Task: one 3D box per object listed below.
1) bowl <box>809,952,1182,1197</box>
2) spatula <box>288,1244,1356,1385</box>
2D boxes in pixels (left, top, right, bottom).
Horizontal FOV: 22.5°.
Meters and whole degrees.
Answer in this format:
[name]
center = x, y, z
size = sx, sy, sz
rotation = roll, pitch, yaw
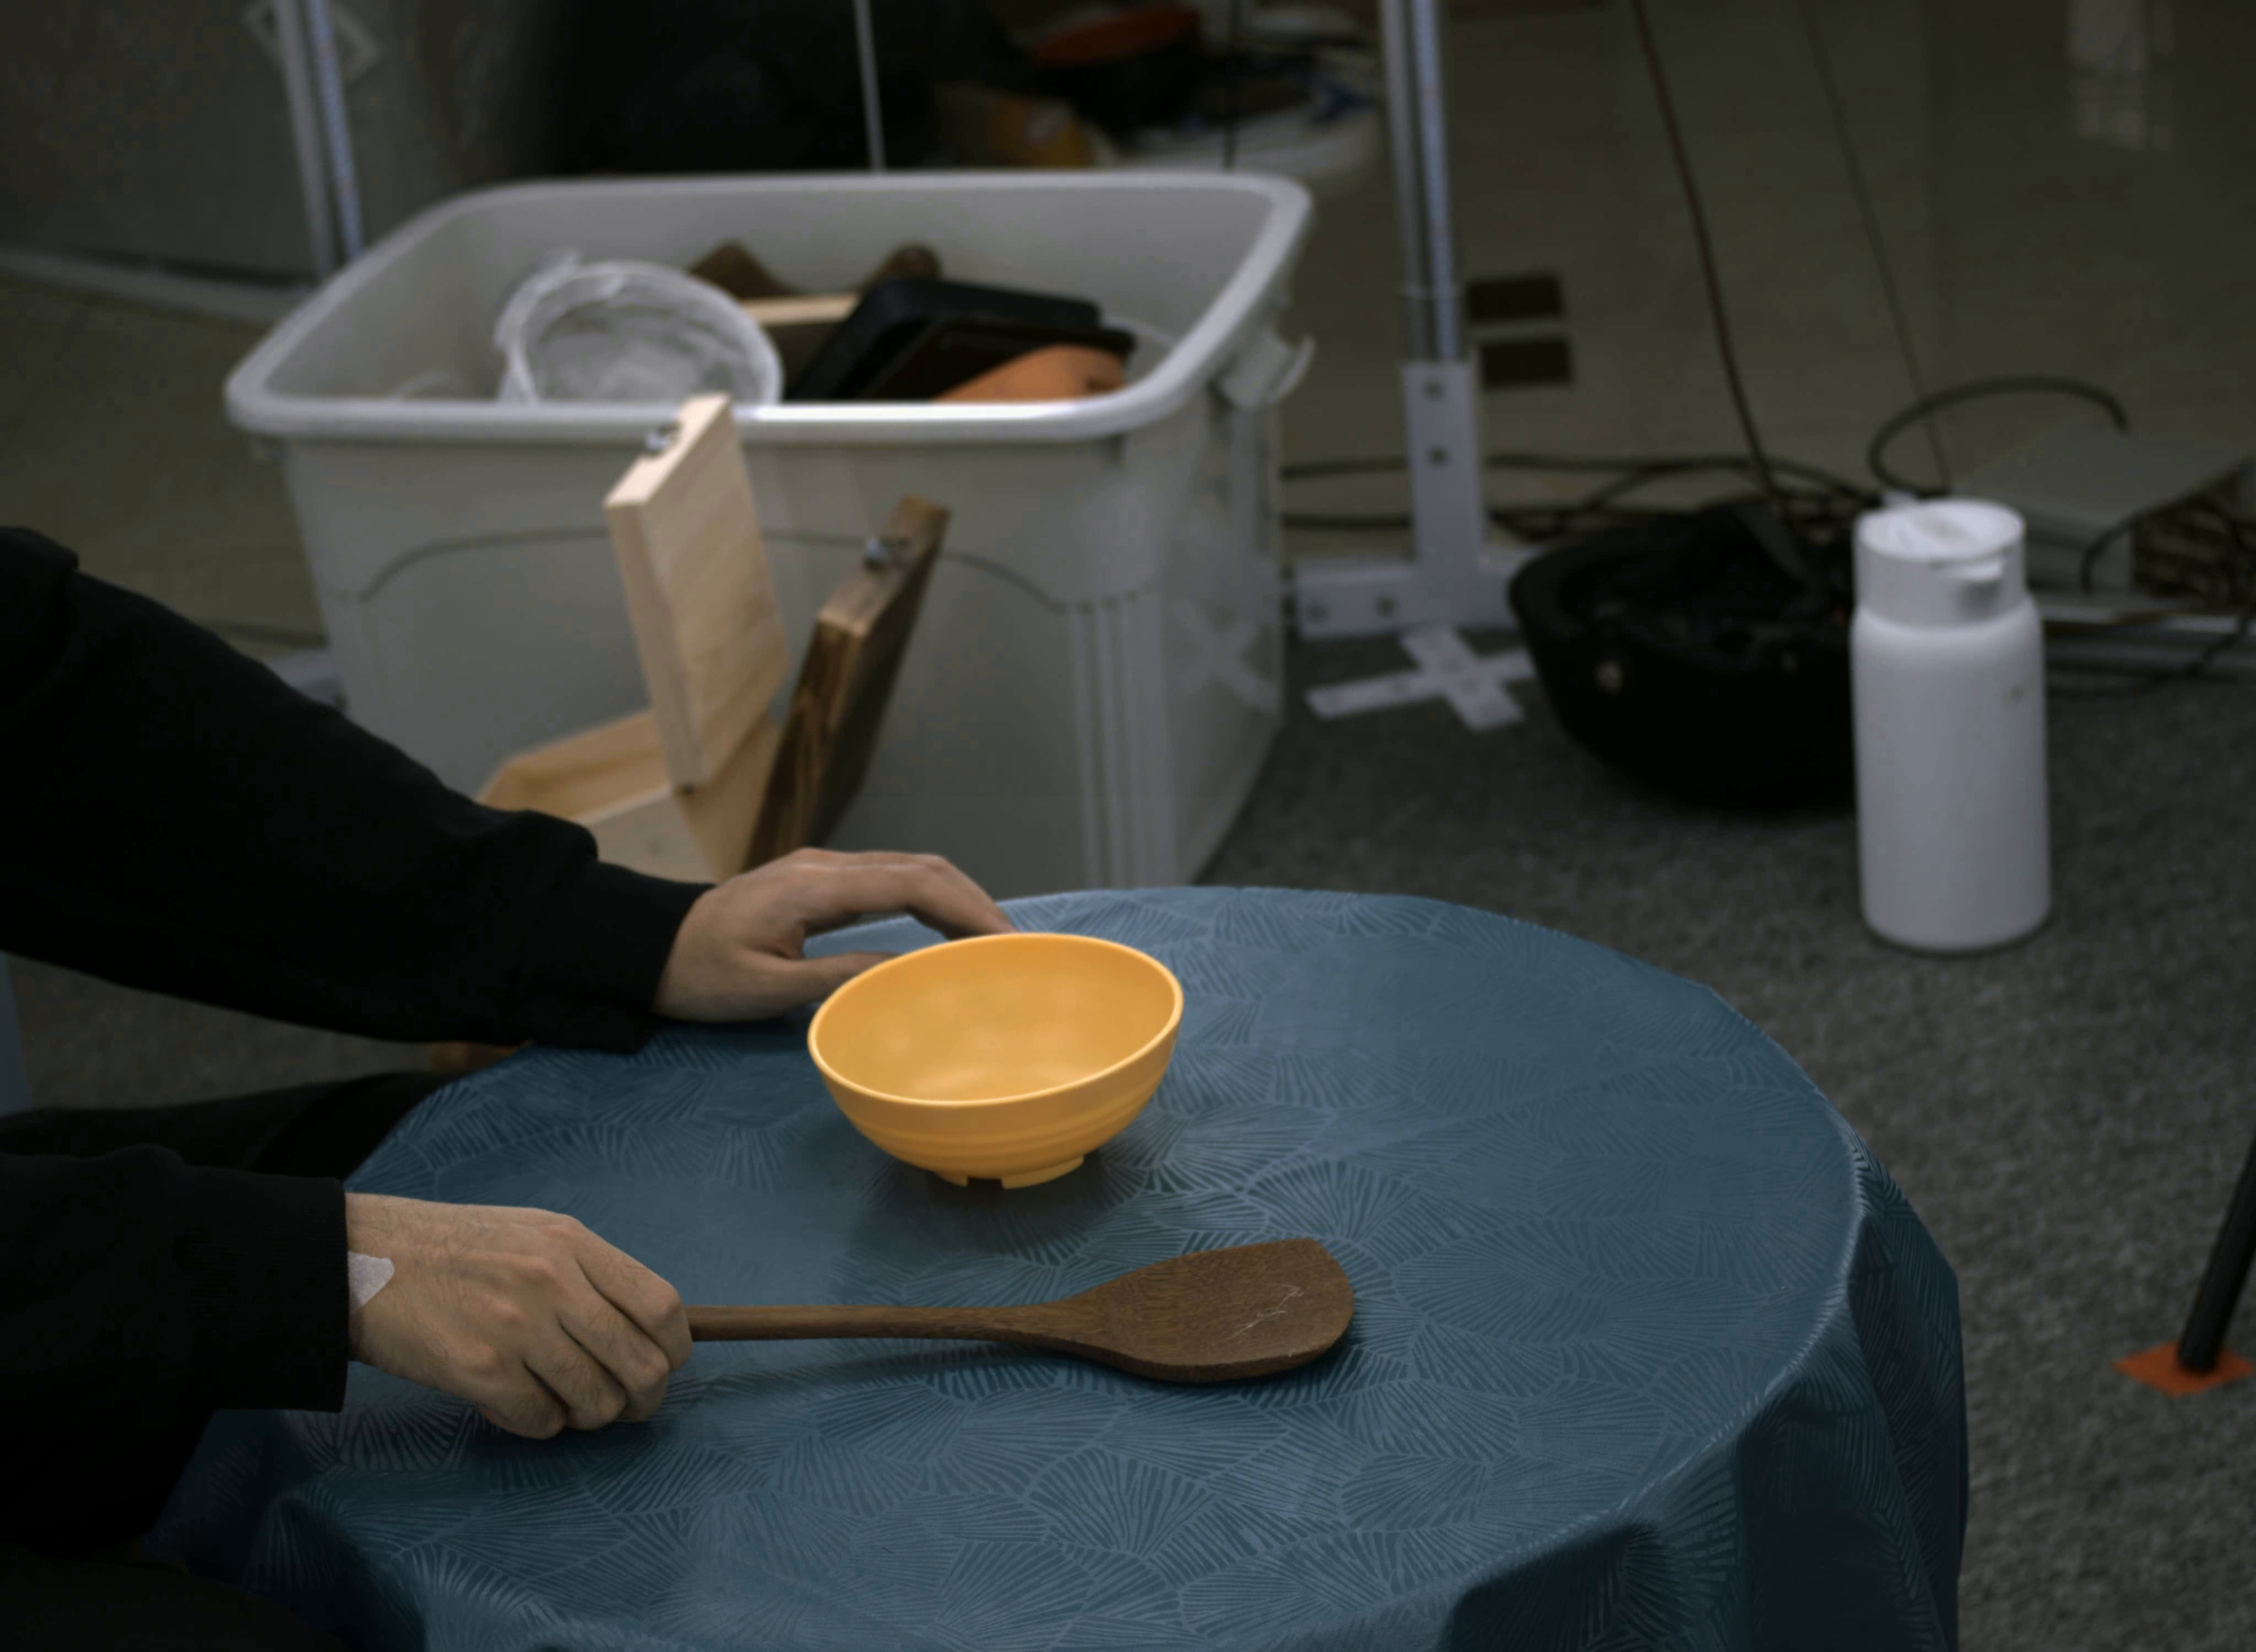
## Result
[bowl]
center = -0.048, 0.102, 2.179
size = 0.145, 0.061, 0.143
rotation = -6, 22, 2
[spatula]
center = -0.110, 0.180, 2.048
size = 0.385, 0.016, 0.095
rotation = -1, 23, -1
